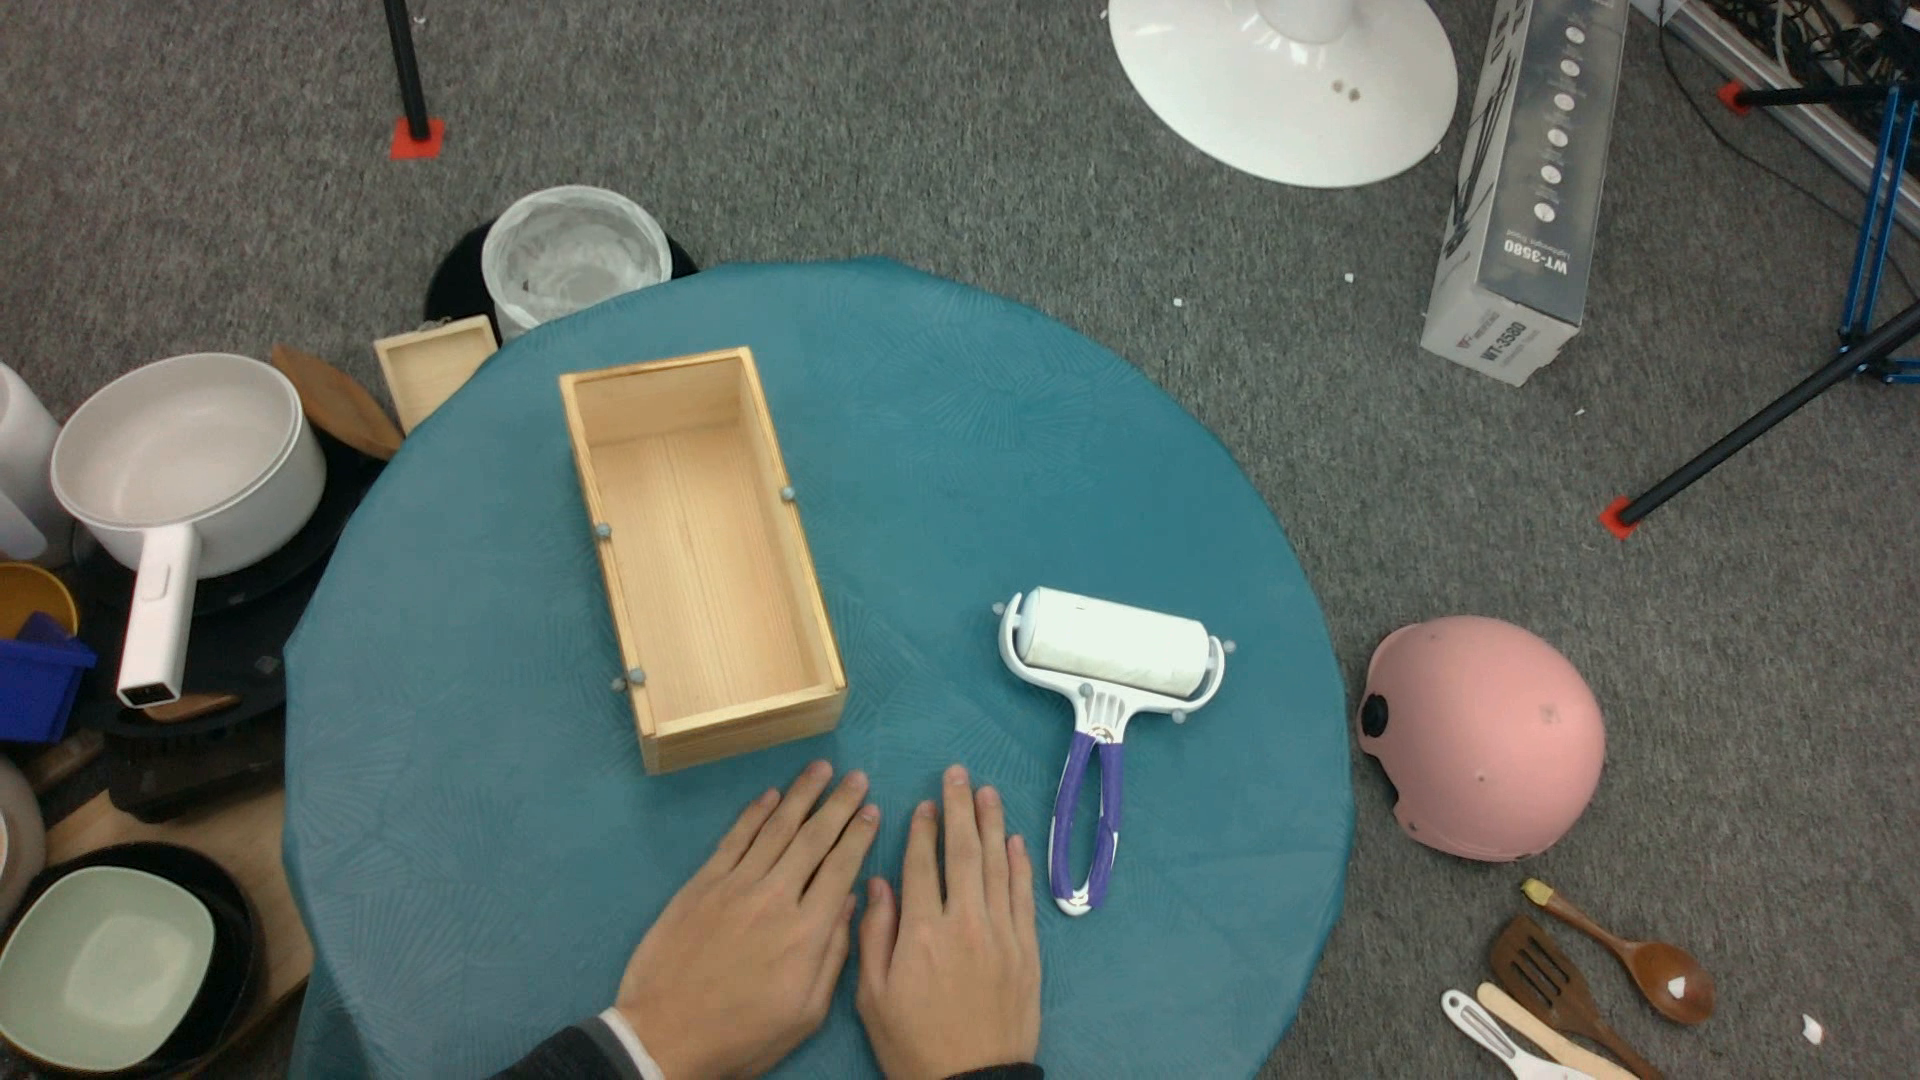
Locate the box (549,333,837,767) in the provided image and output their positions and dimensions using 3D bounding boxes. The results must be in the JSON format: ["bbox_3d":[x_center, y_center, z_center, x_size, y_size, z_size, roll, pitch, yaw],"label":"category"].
[{"bbox_3d":[-0.150,0.003,0.758,0.108,0.080,0.212,-12,69,-17],"label":"box"}]

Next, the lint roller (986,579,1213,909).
[{"bbox_3d":[0.070,0.113,0.773,0.133,0.050,0.181,15,62,-6],"label":"lint roller"}]
